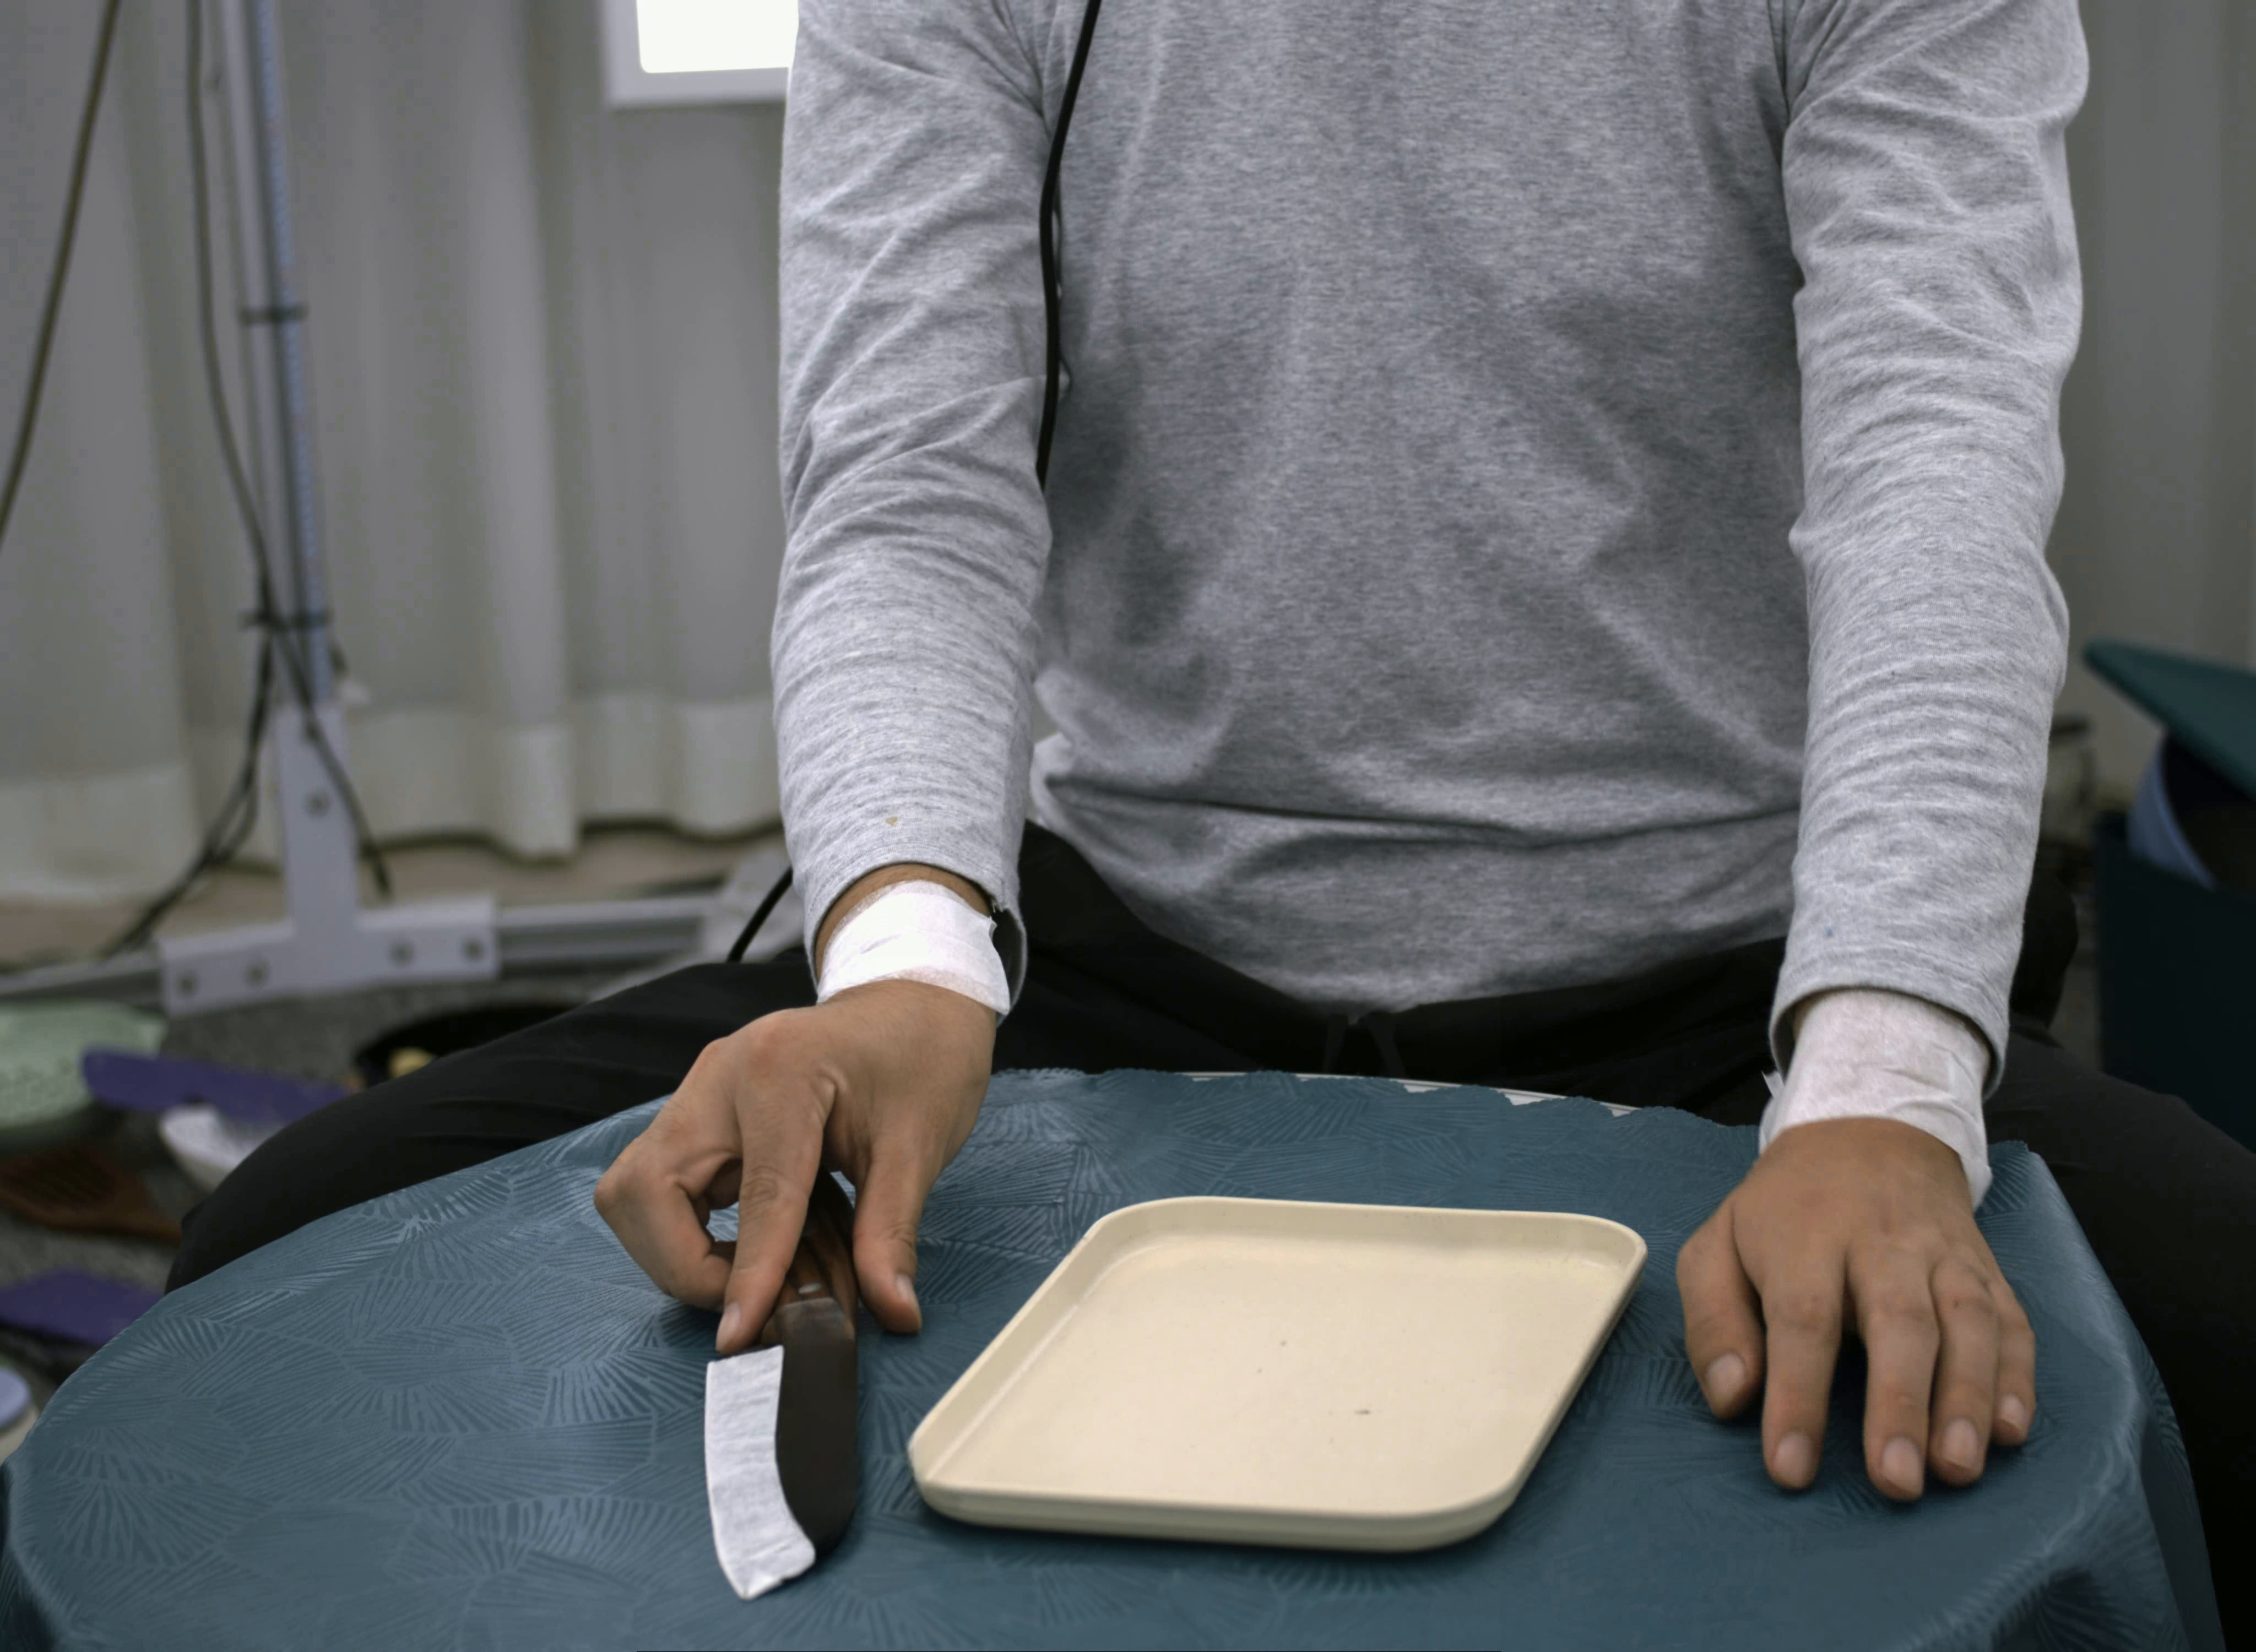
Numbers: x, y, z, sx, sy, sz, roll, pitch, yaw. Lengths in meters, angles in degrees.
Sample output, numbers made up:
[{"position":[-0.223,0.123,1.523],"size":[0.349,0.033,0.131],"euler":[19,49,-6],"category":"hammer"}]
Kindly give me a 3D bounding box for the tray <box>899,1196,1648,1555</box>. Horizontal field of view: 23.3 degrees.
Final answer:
[{"position":[0.045,0.153,1.533],"size":[0.171,0.017,0.240],"euler":[2,15,17],"category":"tray"}]

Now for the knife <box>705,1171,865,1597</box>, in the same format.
[{"position":[-0.096,0.157,1.549],"size":[0.050,0.020,0.291],"euler":[-13,17,3],"category":"knife"}]
